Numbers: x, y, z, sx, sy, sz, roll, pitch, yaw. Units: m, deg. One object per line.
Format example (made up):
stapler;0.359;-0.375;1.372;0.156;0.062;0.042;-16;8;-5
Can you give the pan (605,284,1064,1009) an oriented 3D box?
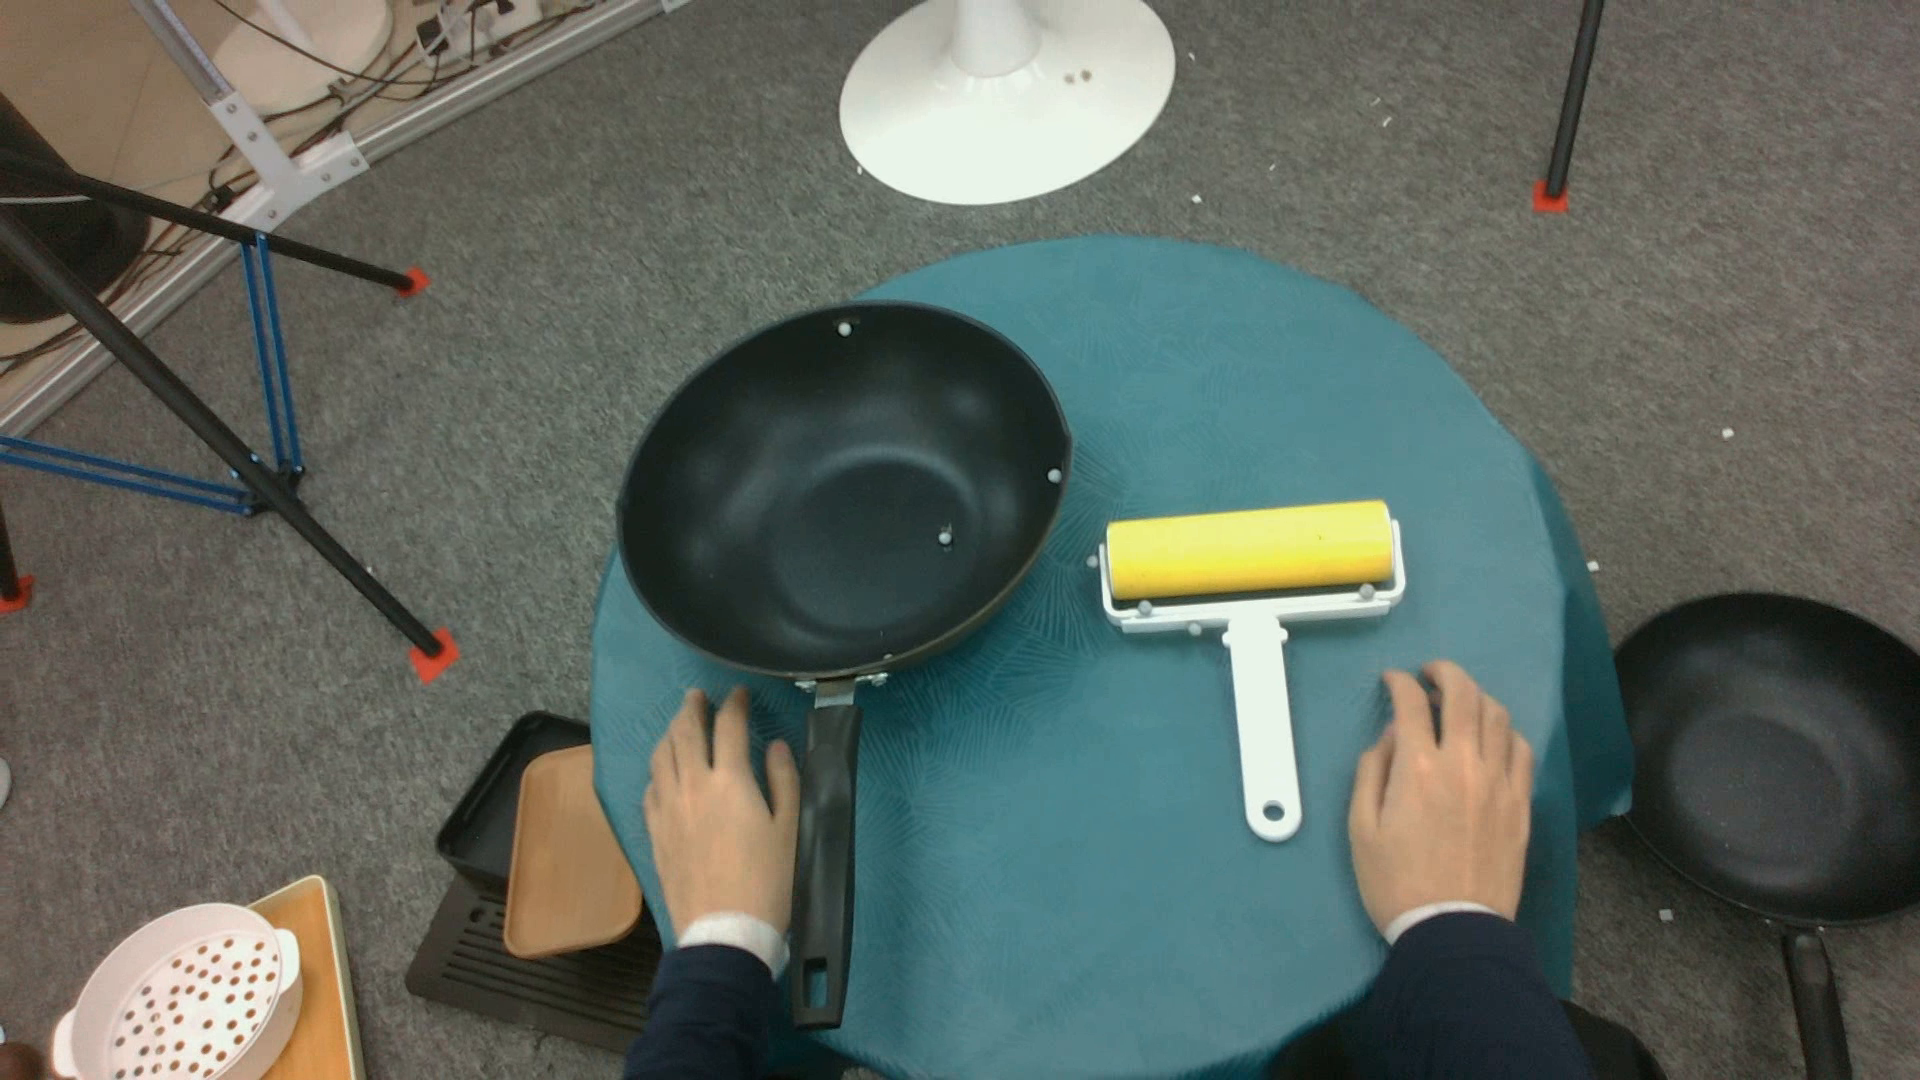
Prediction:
pan;-0.071;0.047;0.813;0.288;0.086;0.465;-7;56;8

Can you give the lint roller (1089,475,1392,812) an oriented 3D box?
lint roller;0.165;0.055;0.780;0.174;0.051;0.193;-6;56;9
